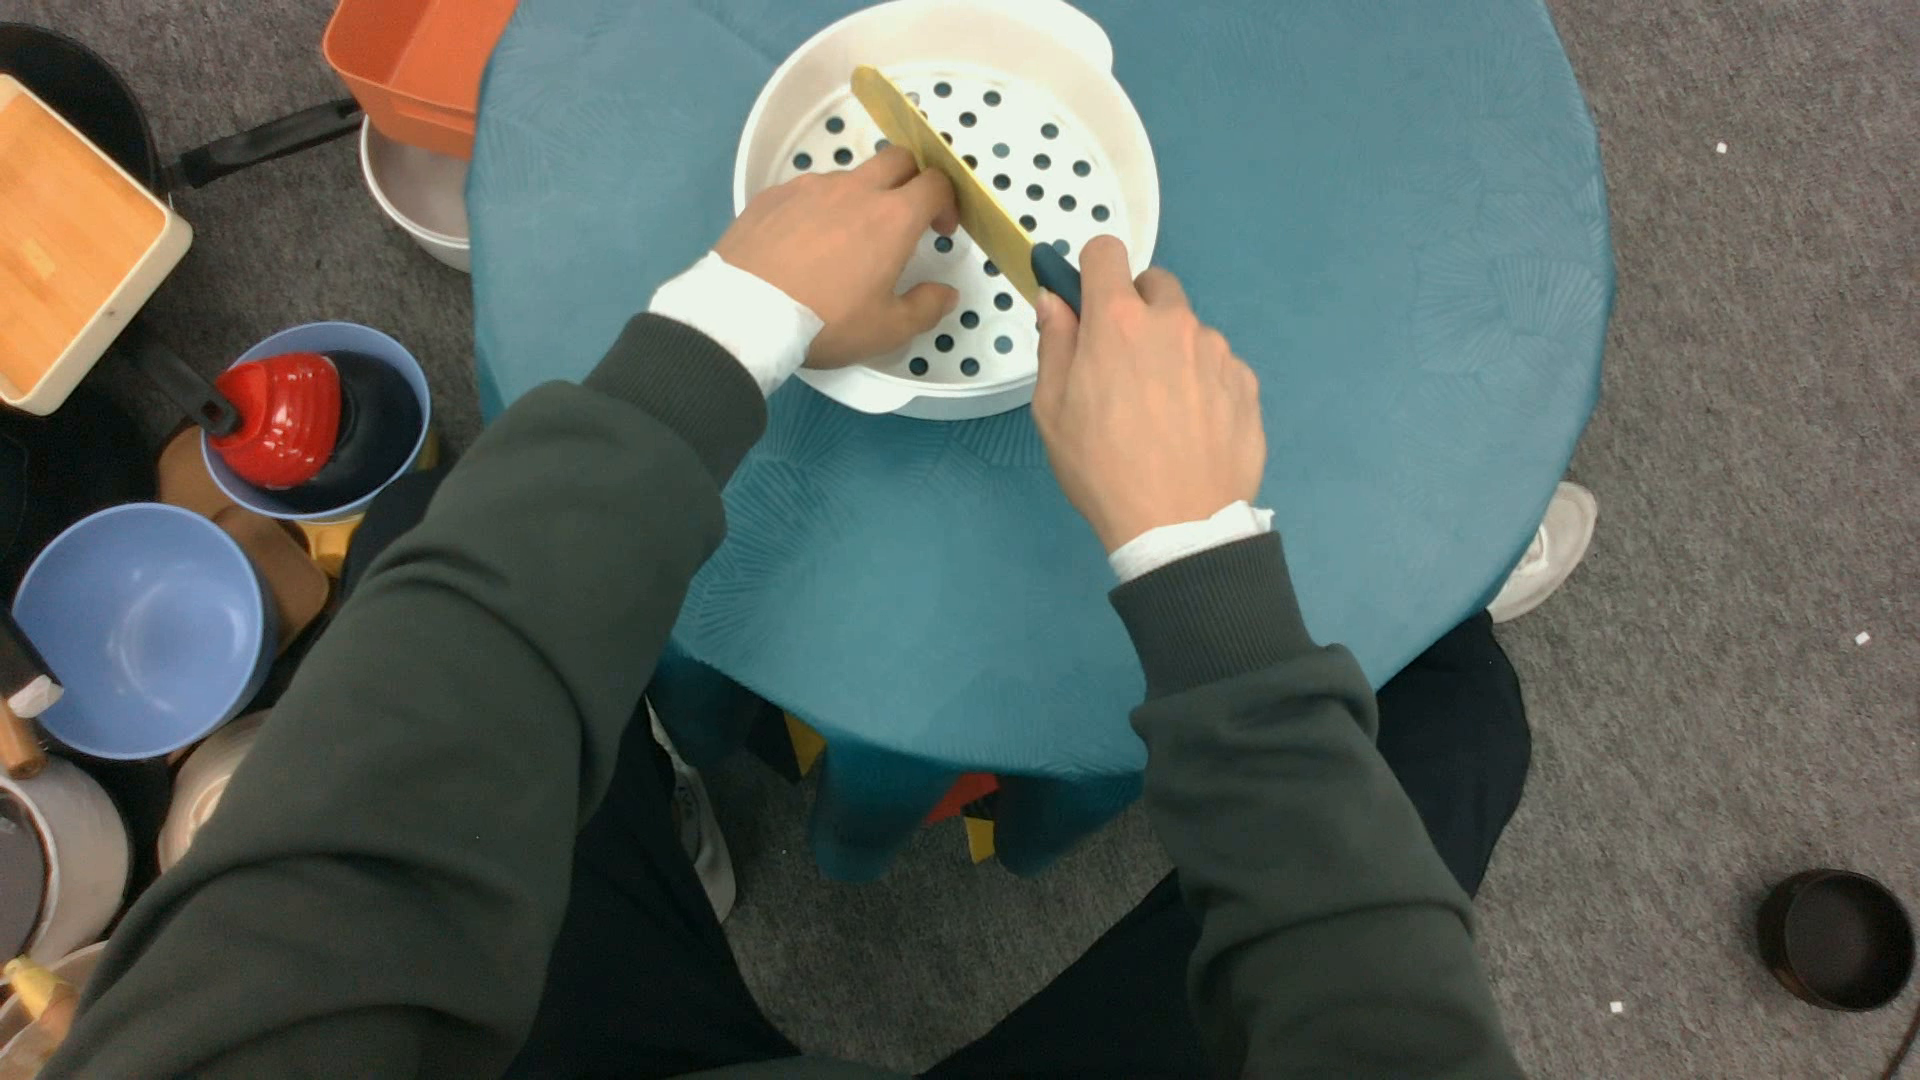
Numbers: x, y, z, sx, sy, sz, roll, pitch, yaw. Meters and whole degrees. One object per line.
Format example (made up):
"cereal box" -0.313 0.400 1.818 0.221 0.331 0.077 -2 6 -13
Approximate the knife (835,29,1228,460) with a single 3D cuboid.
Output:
"knife" 0.022 -0.138 0.627 0.027 0.081 0.290 -34 67 -12

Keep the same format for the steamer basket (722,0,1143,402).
"steamer basket" -0.014 -0.168 0.683 0.202 0.069 0.231 30 79 2
